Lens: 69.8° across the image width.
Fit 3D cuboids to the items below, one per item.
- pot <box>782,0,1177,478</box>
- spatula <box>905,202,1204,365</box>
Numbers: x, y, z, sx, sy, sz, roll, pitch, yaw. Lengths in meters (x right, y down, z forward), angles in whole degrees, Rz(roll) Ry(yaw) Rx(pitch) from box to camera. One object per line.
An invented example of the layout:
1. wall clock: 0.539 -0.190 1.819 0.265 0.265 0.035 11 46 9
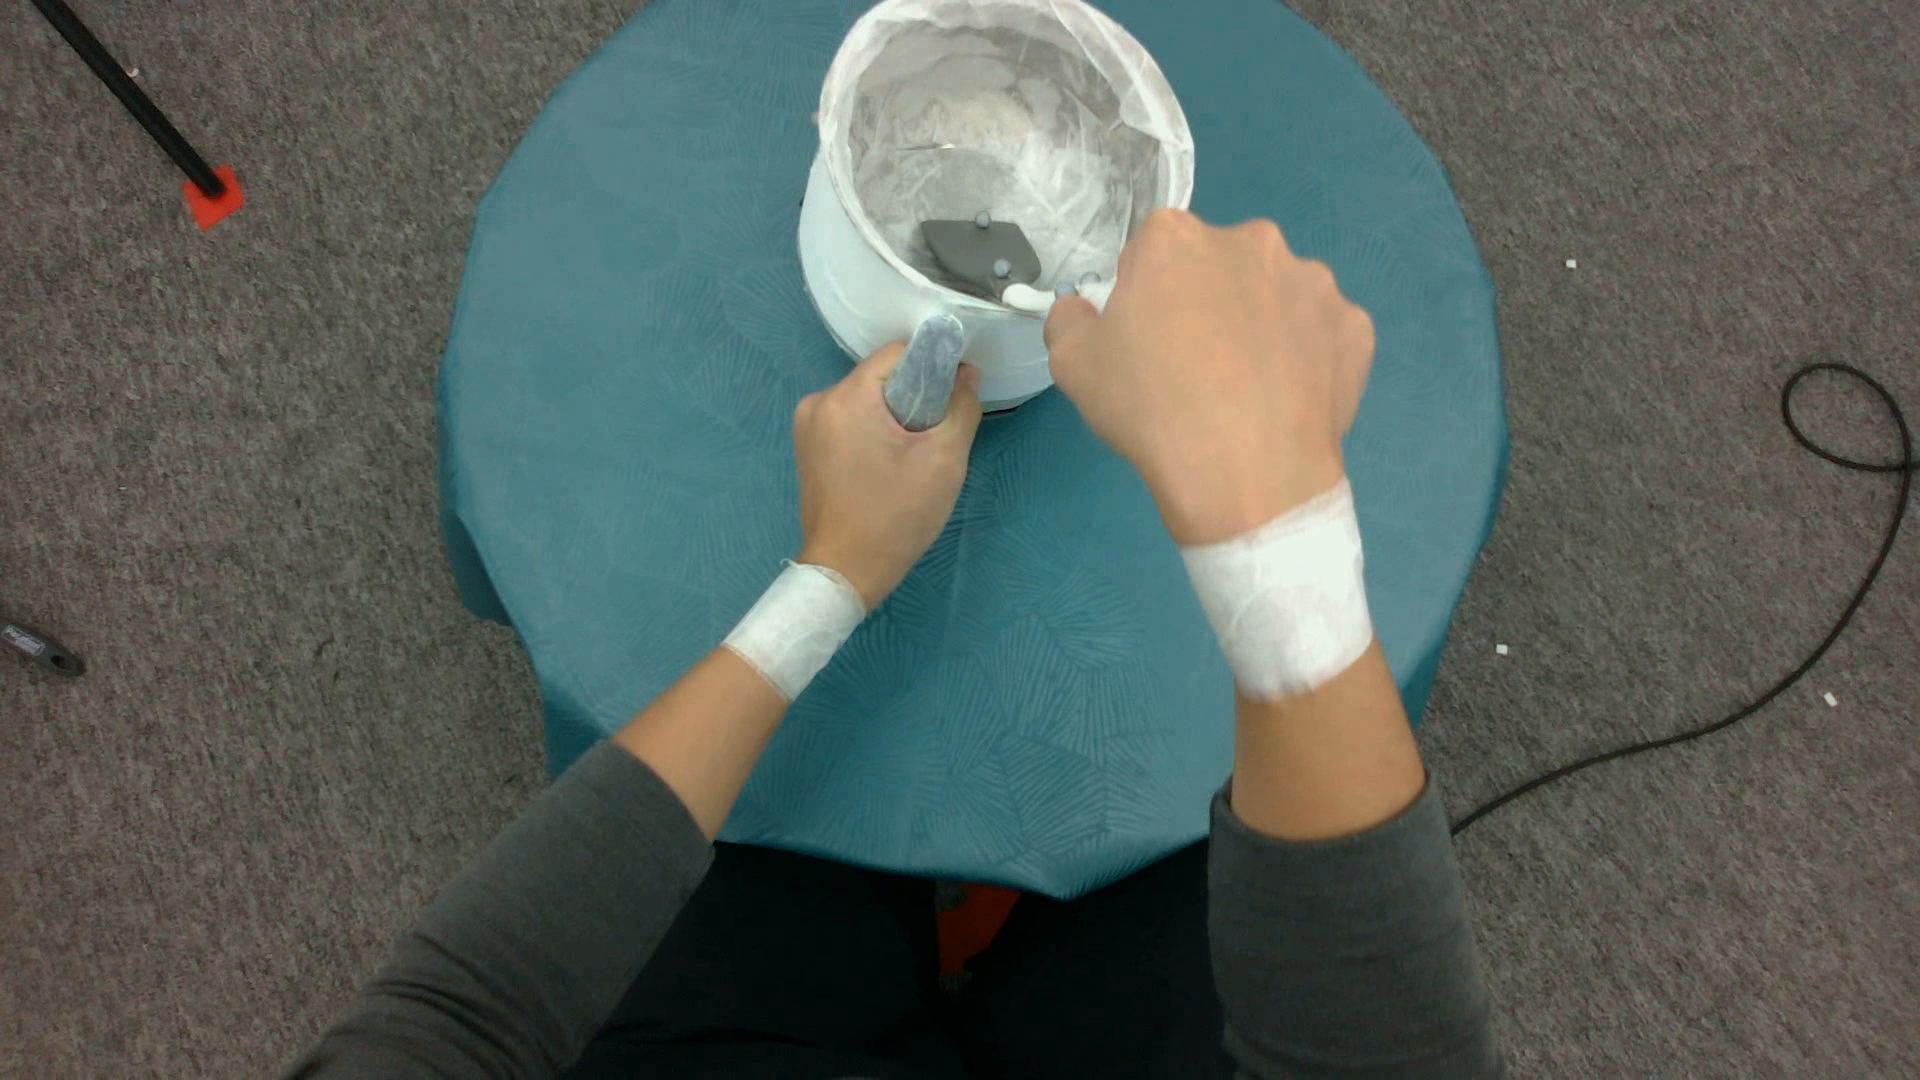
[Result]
1. pot: -0.004 -0.149 0.681 0.179 0.136 0.234 18 69 -6
2. spatula: 0.031 -0.119 0.588 0.059 0.288 0.032 -6 110 -13
